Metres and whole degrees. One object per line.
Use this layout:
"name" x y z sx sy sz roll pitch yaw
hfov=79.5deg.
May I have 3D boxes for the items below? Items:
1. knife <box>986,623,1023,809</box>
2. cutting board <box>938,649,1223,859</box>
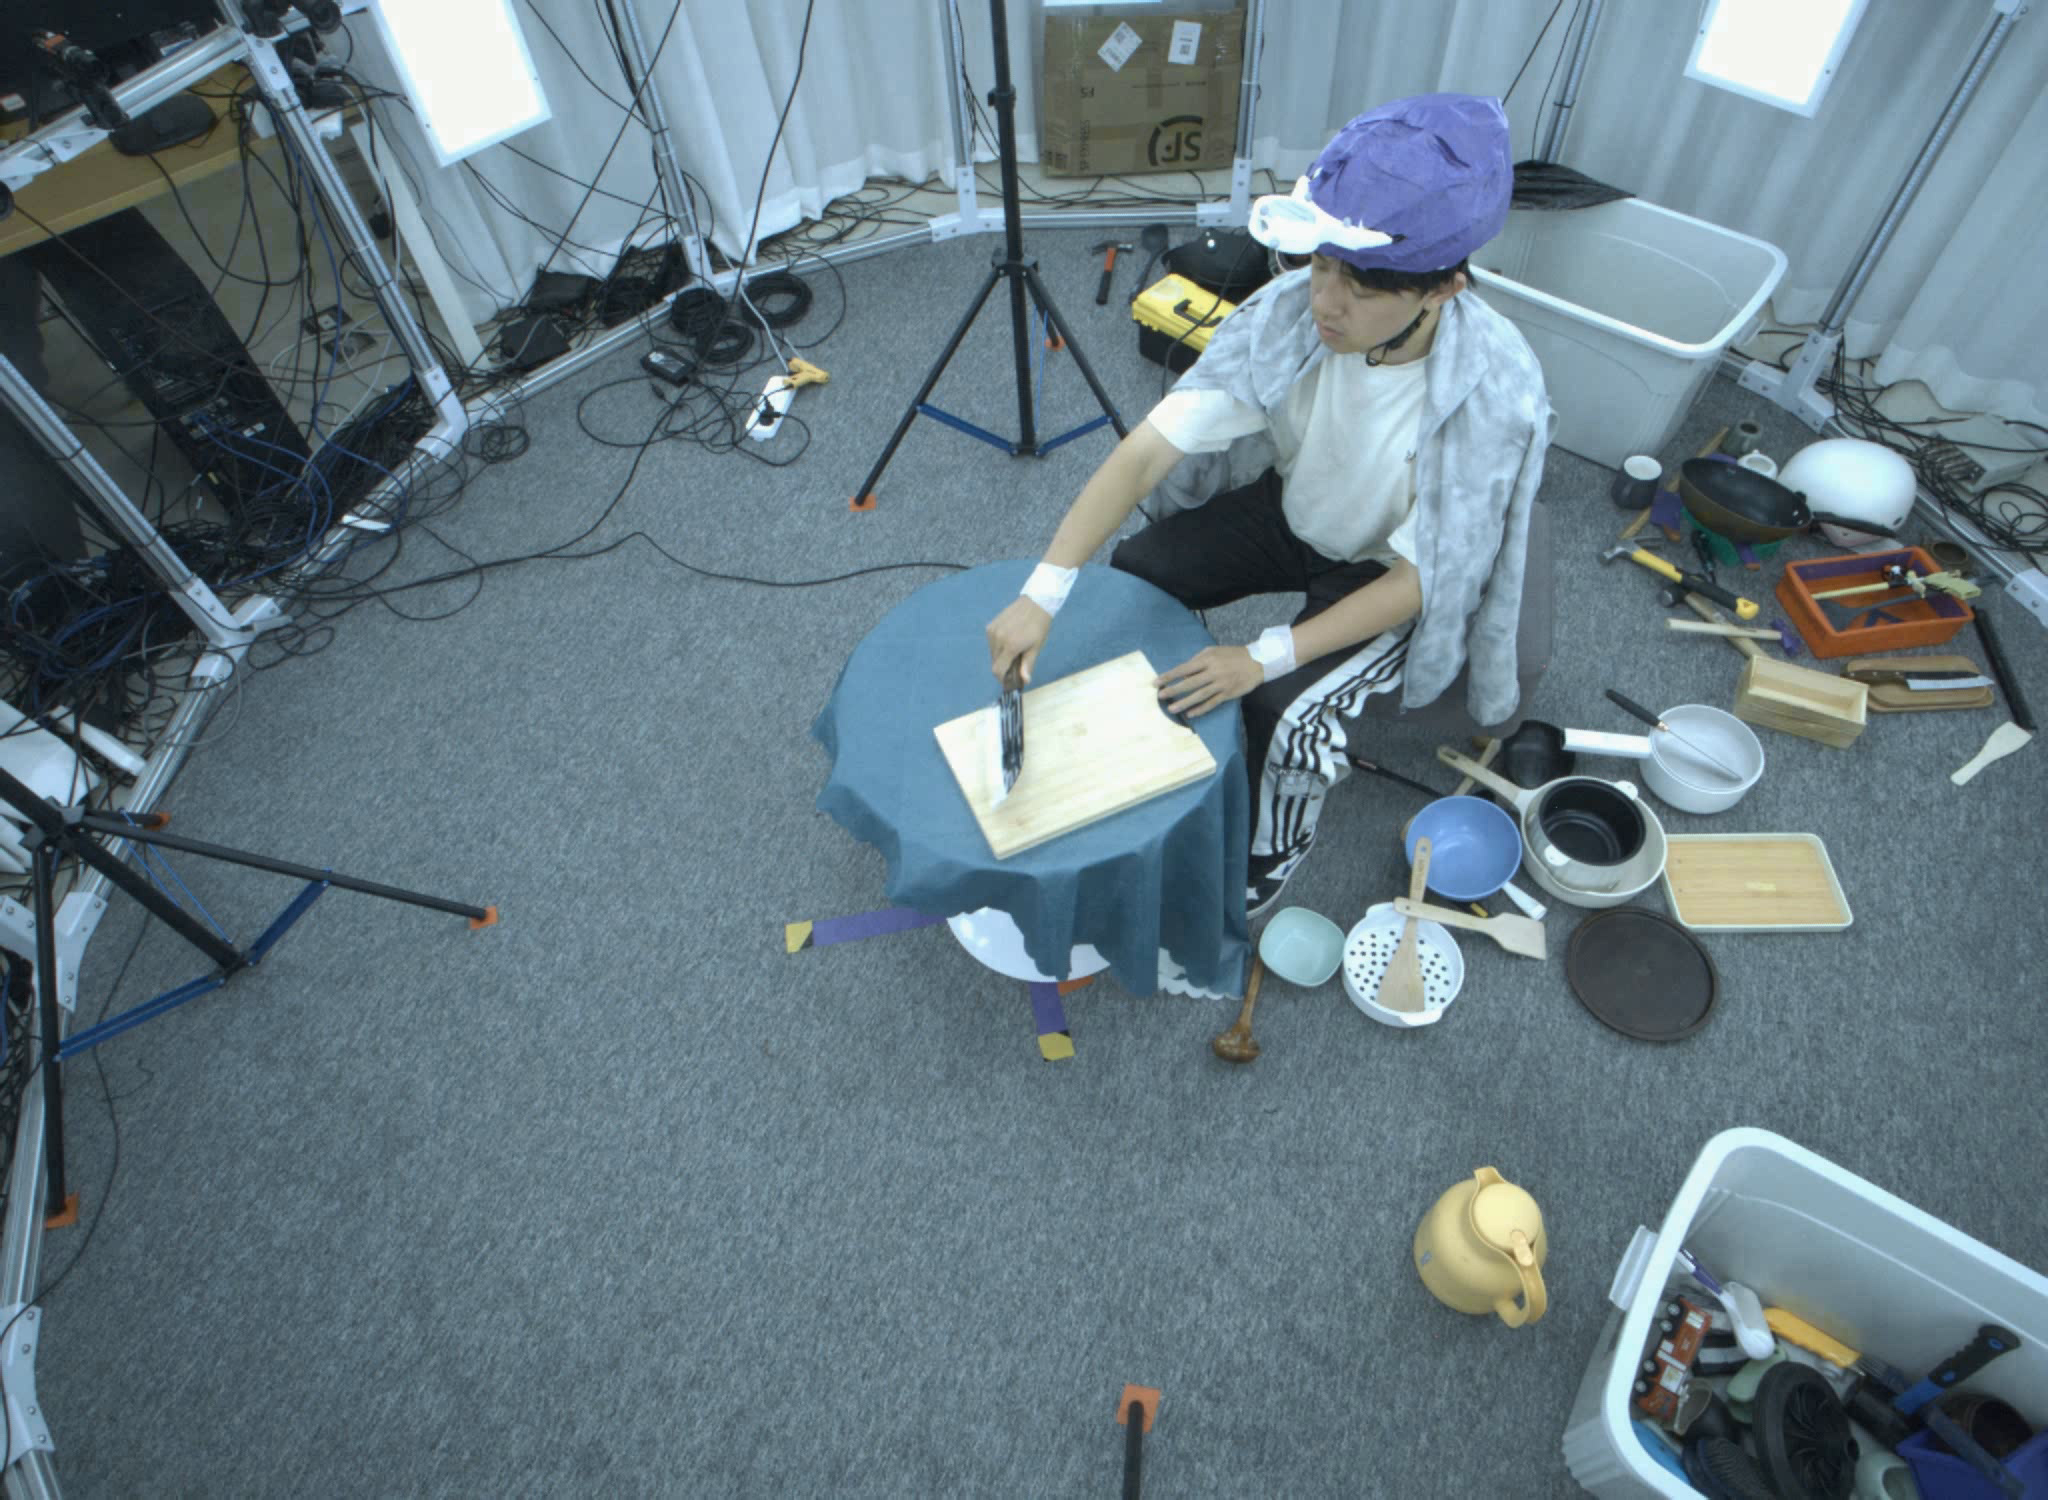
"knife" -0.029 -0.052 1.718 0.067 0.024 0.296 -26 49 32
"cutting board" 0.075 -0.002 1.779 0.351 0.024 0.246 -22 57 -13
